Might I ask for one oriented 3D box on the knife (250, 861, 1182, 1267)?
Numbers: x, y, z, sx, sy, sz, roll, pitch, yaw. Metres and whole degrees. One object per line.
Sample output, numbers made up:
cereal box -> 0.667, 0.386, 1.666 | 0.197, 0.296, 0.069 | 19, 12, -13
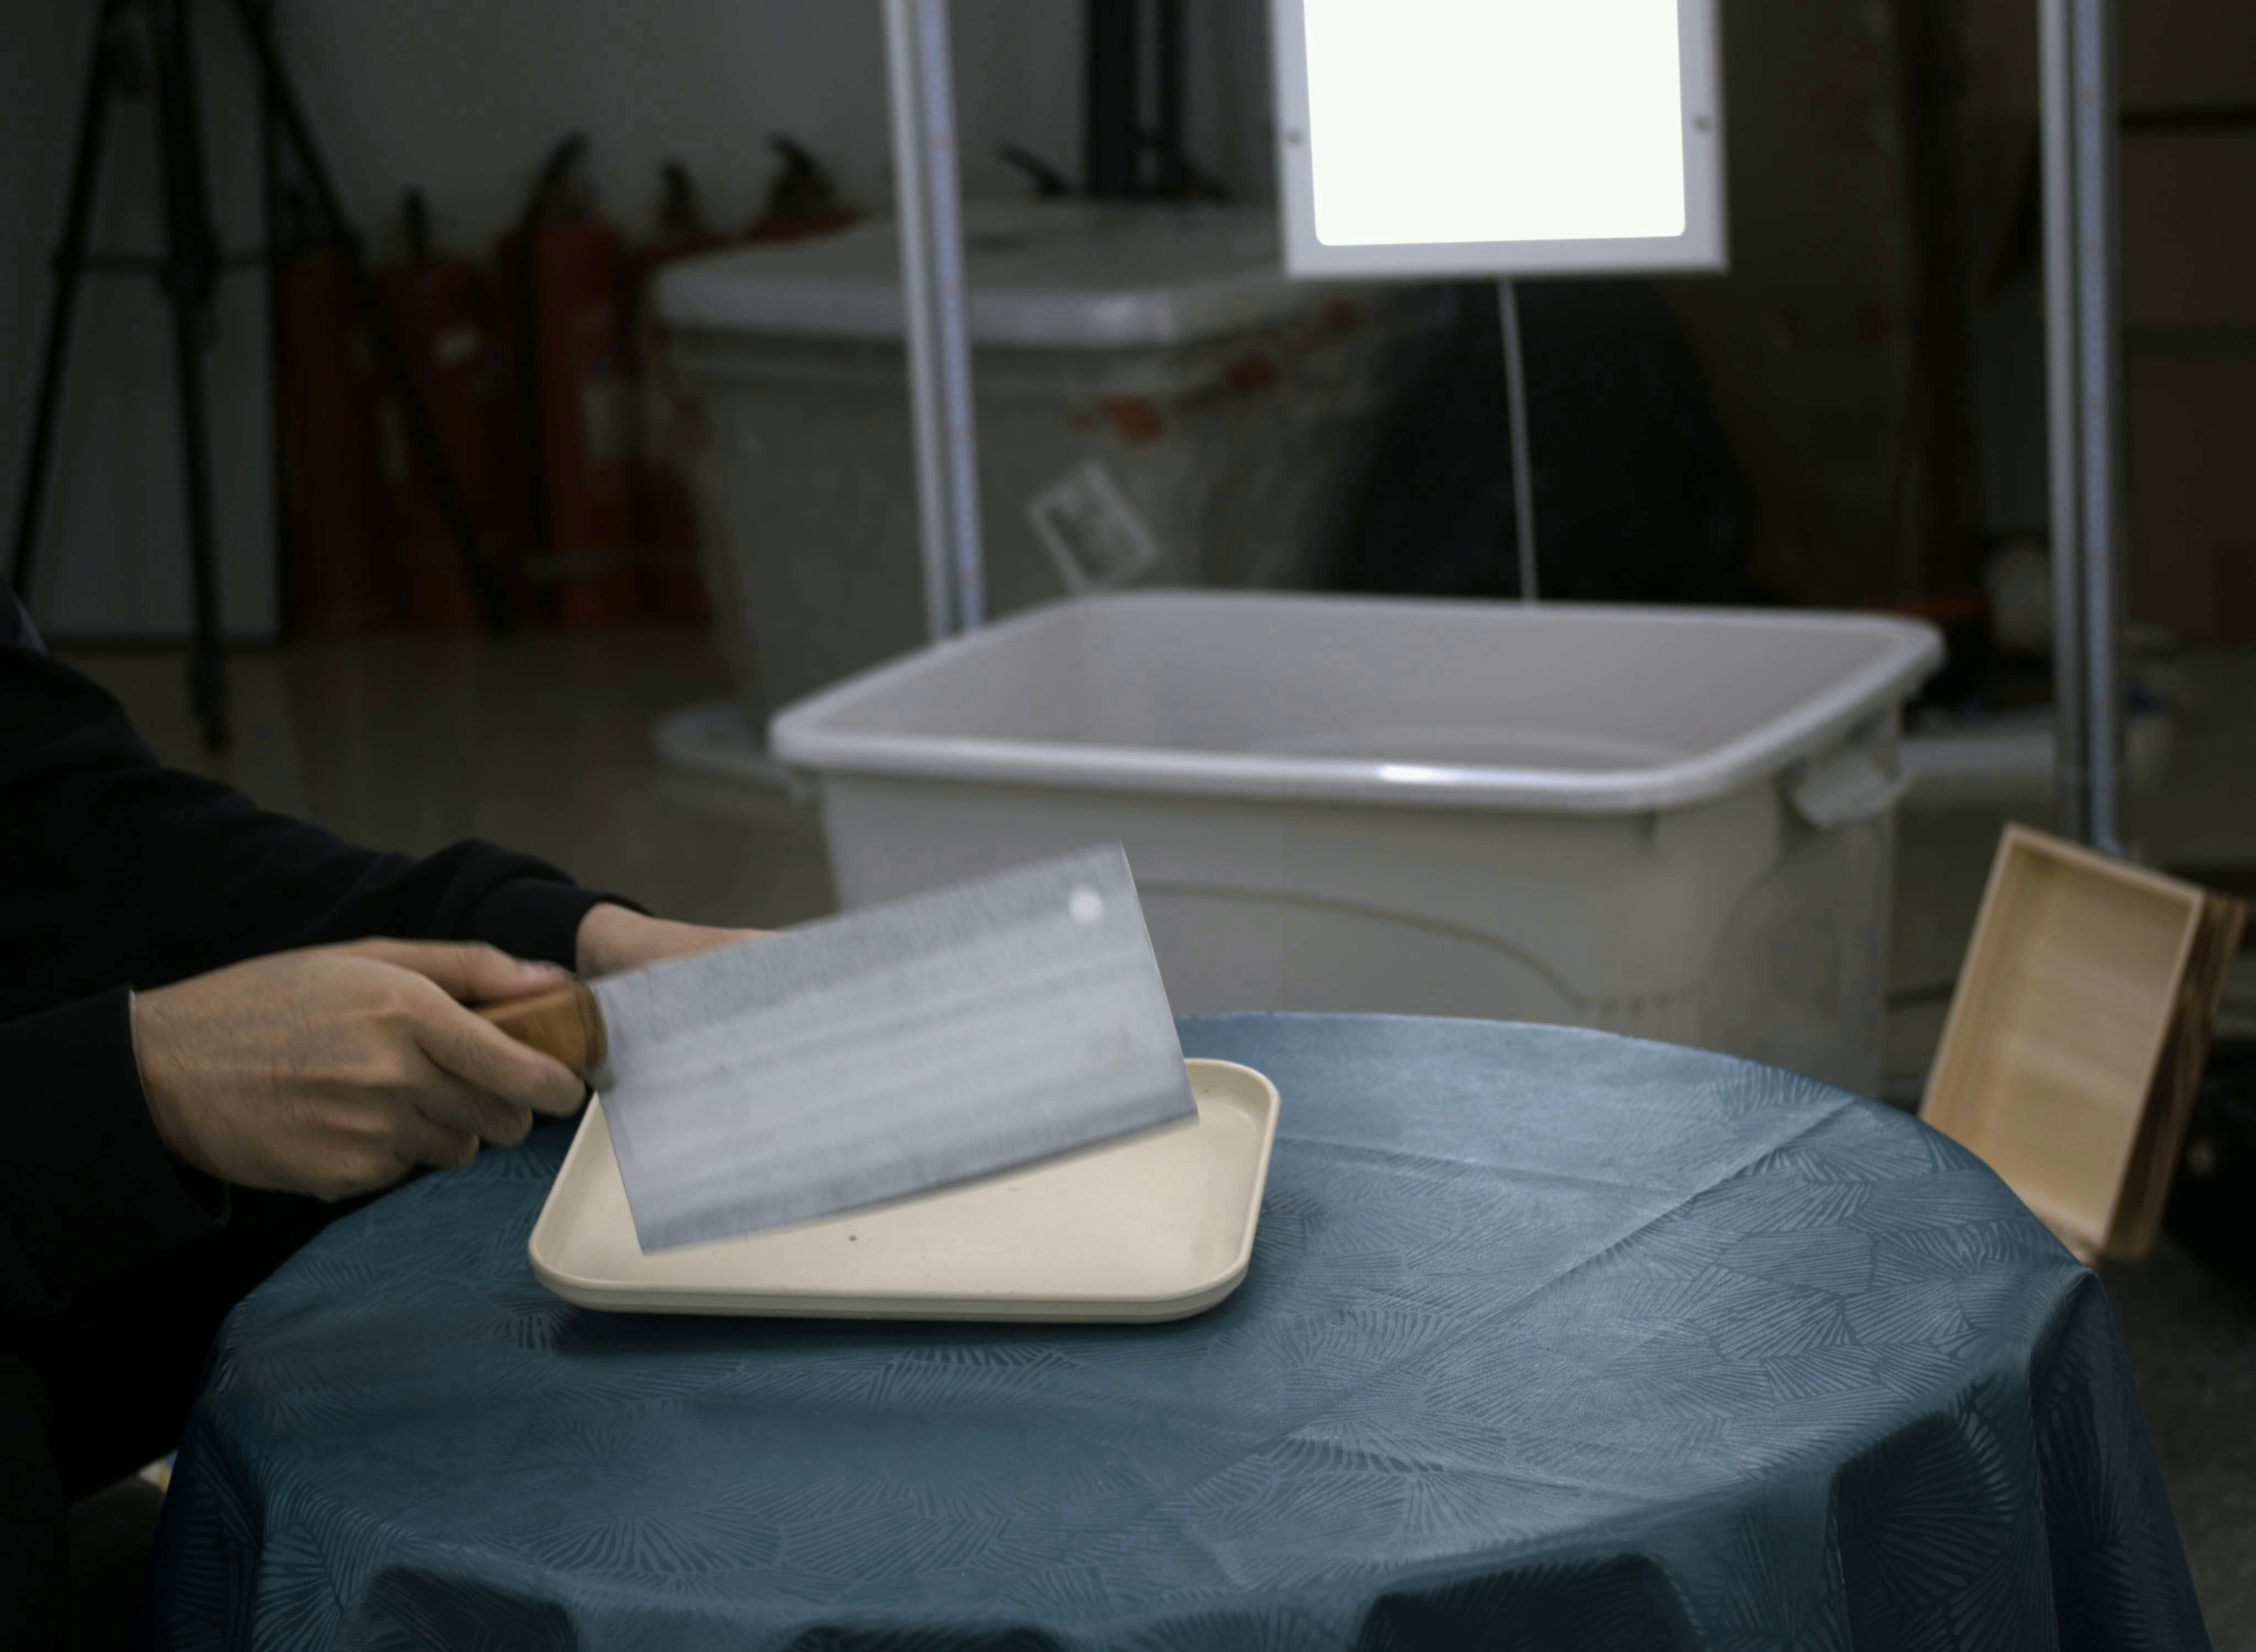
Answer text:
knife -> -0.130, 0.088, 1.737 | 0.309, 0.093, 0.020 | -14, 4, 18

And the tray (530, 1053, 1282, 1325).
tray -> -0.071, 0.121, 1.841 | 0.241, 0.017, 0.169 | 0, 25, 10
